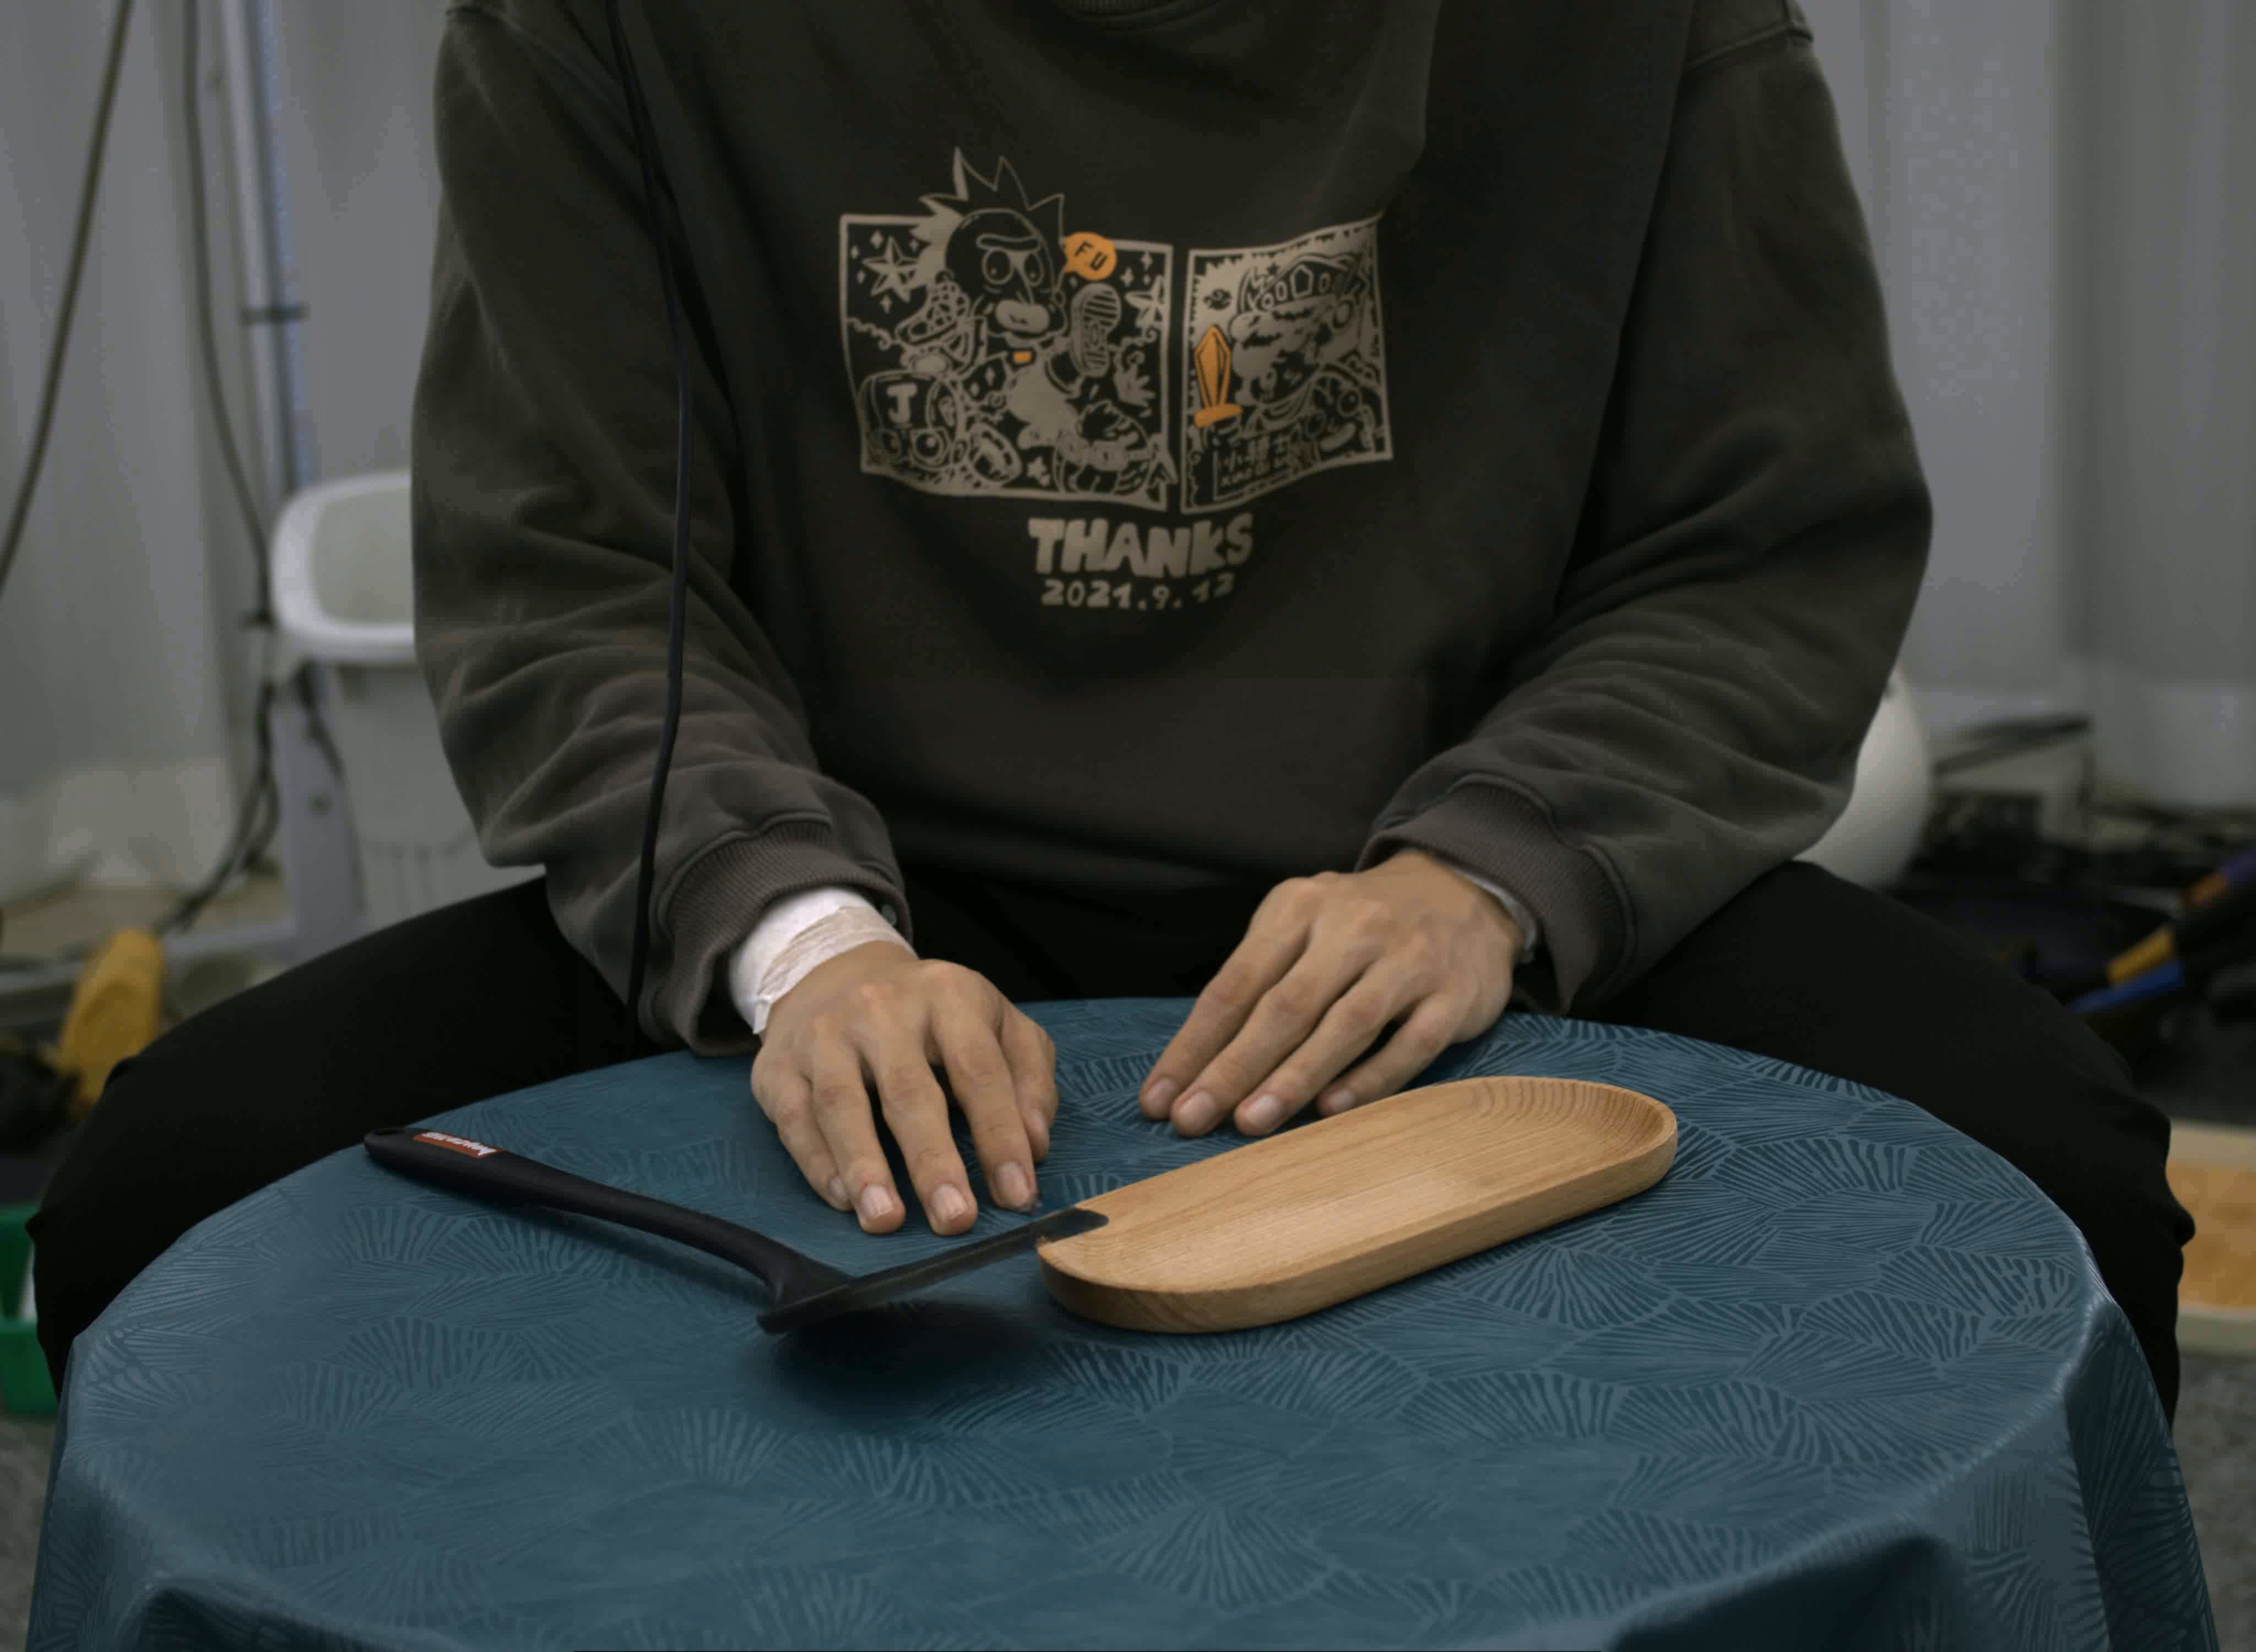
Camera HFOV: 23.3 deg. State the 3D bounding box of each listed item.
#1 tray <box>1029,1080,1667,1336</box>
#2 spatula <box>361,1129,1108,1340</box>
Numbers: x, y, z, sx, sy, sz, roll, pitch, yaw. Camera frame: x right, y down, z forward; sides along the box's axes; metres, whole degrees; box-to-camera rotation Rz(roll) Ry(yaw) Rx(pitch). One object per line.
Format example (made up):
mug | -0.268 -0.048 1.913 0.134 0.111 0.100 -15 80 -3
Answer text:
tray | 0.070 0.116 1.674 0.230 0.020 0.102 -17 20 -39
spatula | -0.142 0.116 1.677 0.099 0.040 0.328 -14 18 -39
